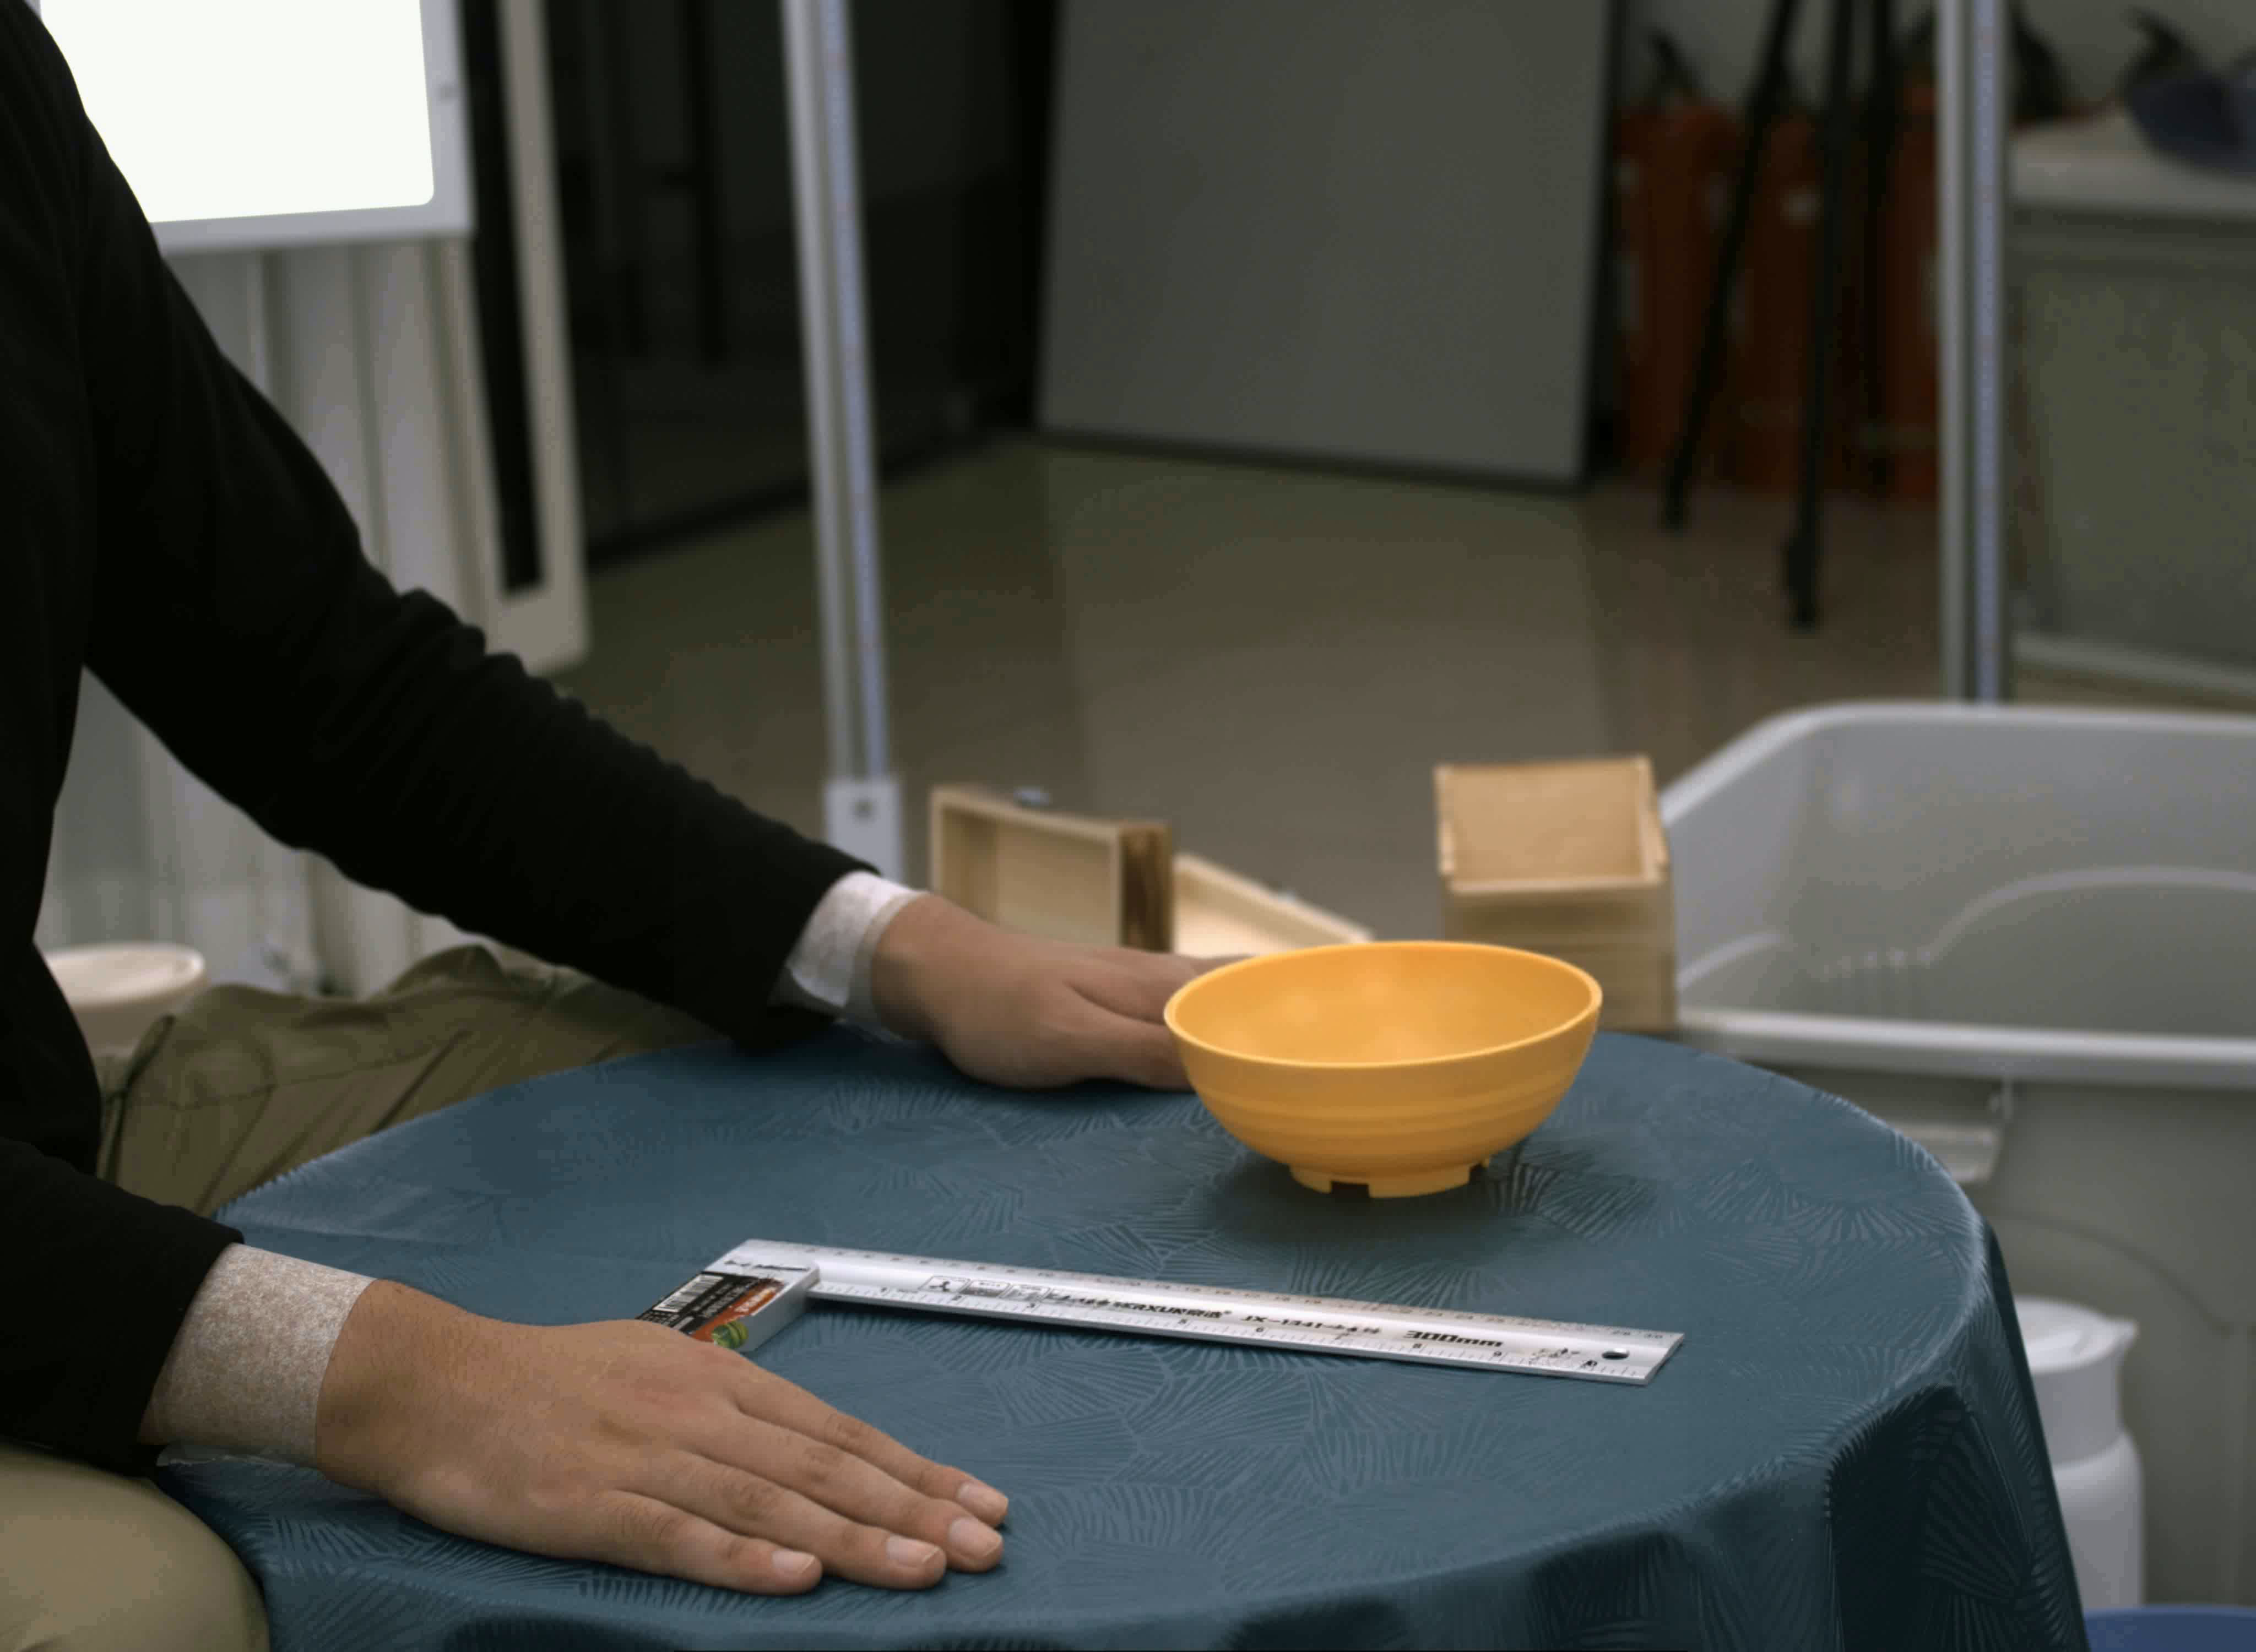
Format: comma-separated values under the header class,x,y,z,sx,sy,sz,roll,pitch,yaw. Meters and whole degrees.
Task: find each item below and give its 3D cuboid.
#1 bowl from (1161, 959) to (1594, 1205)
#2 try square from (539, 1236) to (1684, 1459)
class,x,y,z,sx,sy,sz,roll,pitch,yaw
bowl,0.083,0.087,1.767,0.143,0.061,0.145,-5,11,0
try square,-0.005,0.163,1.595,0.313,0.016,0.150,3,19,24
